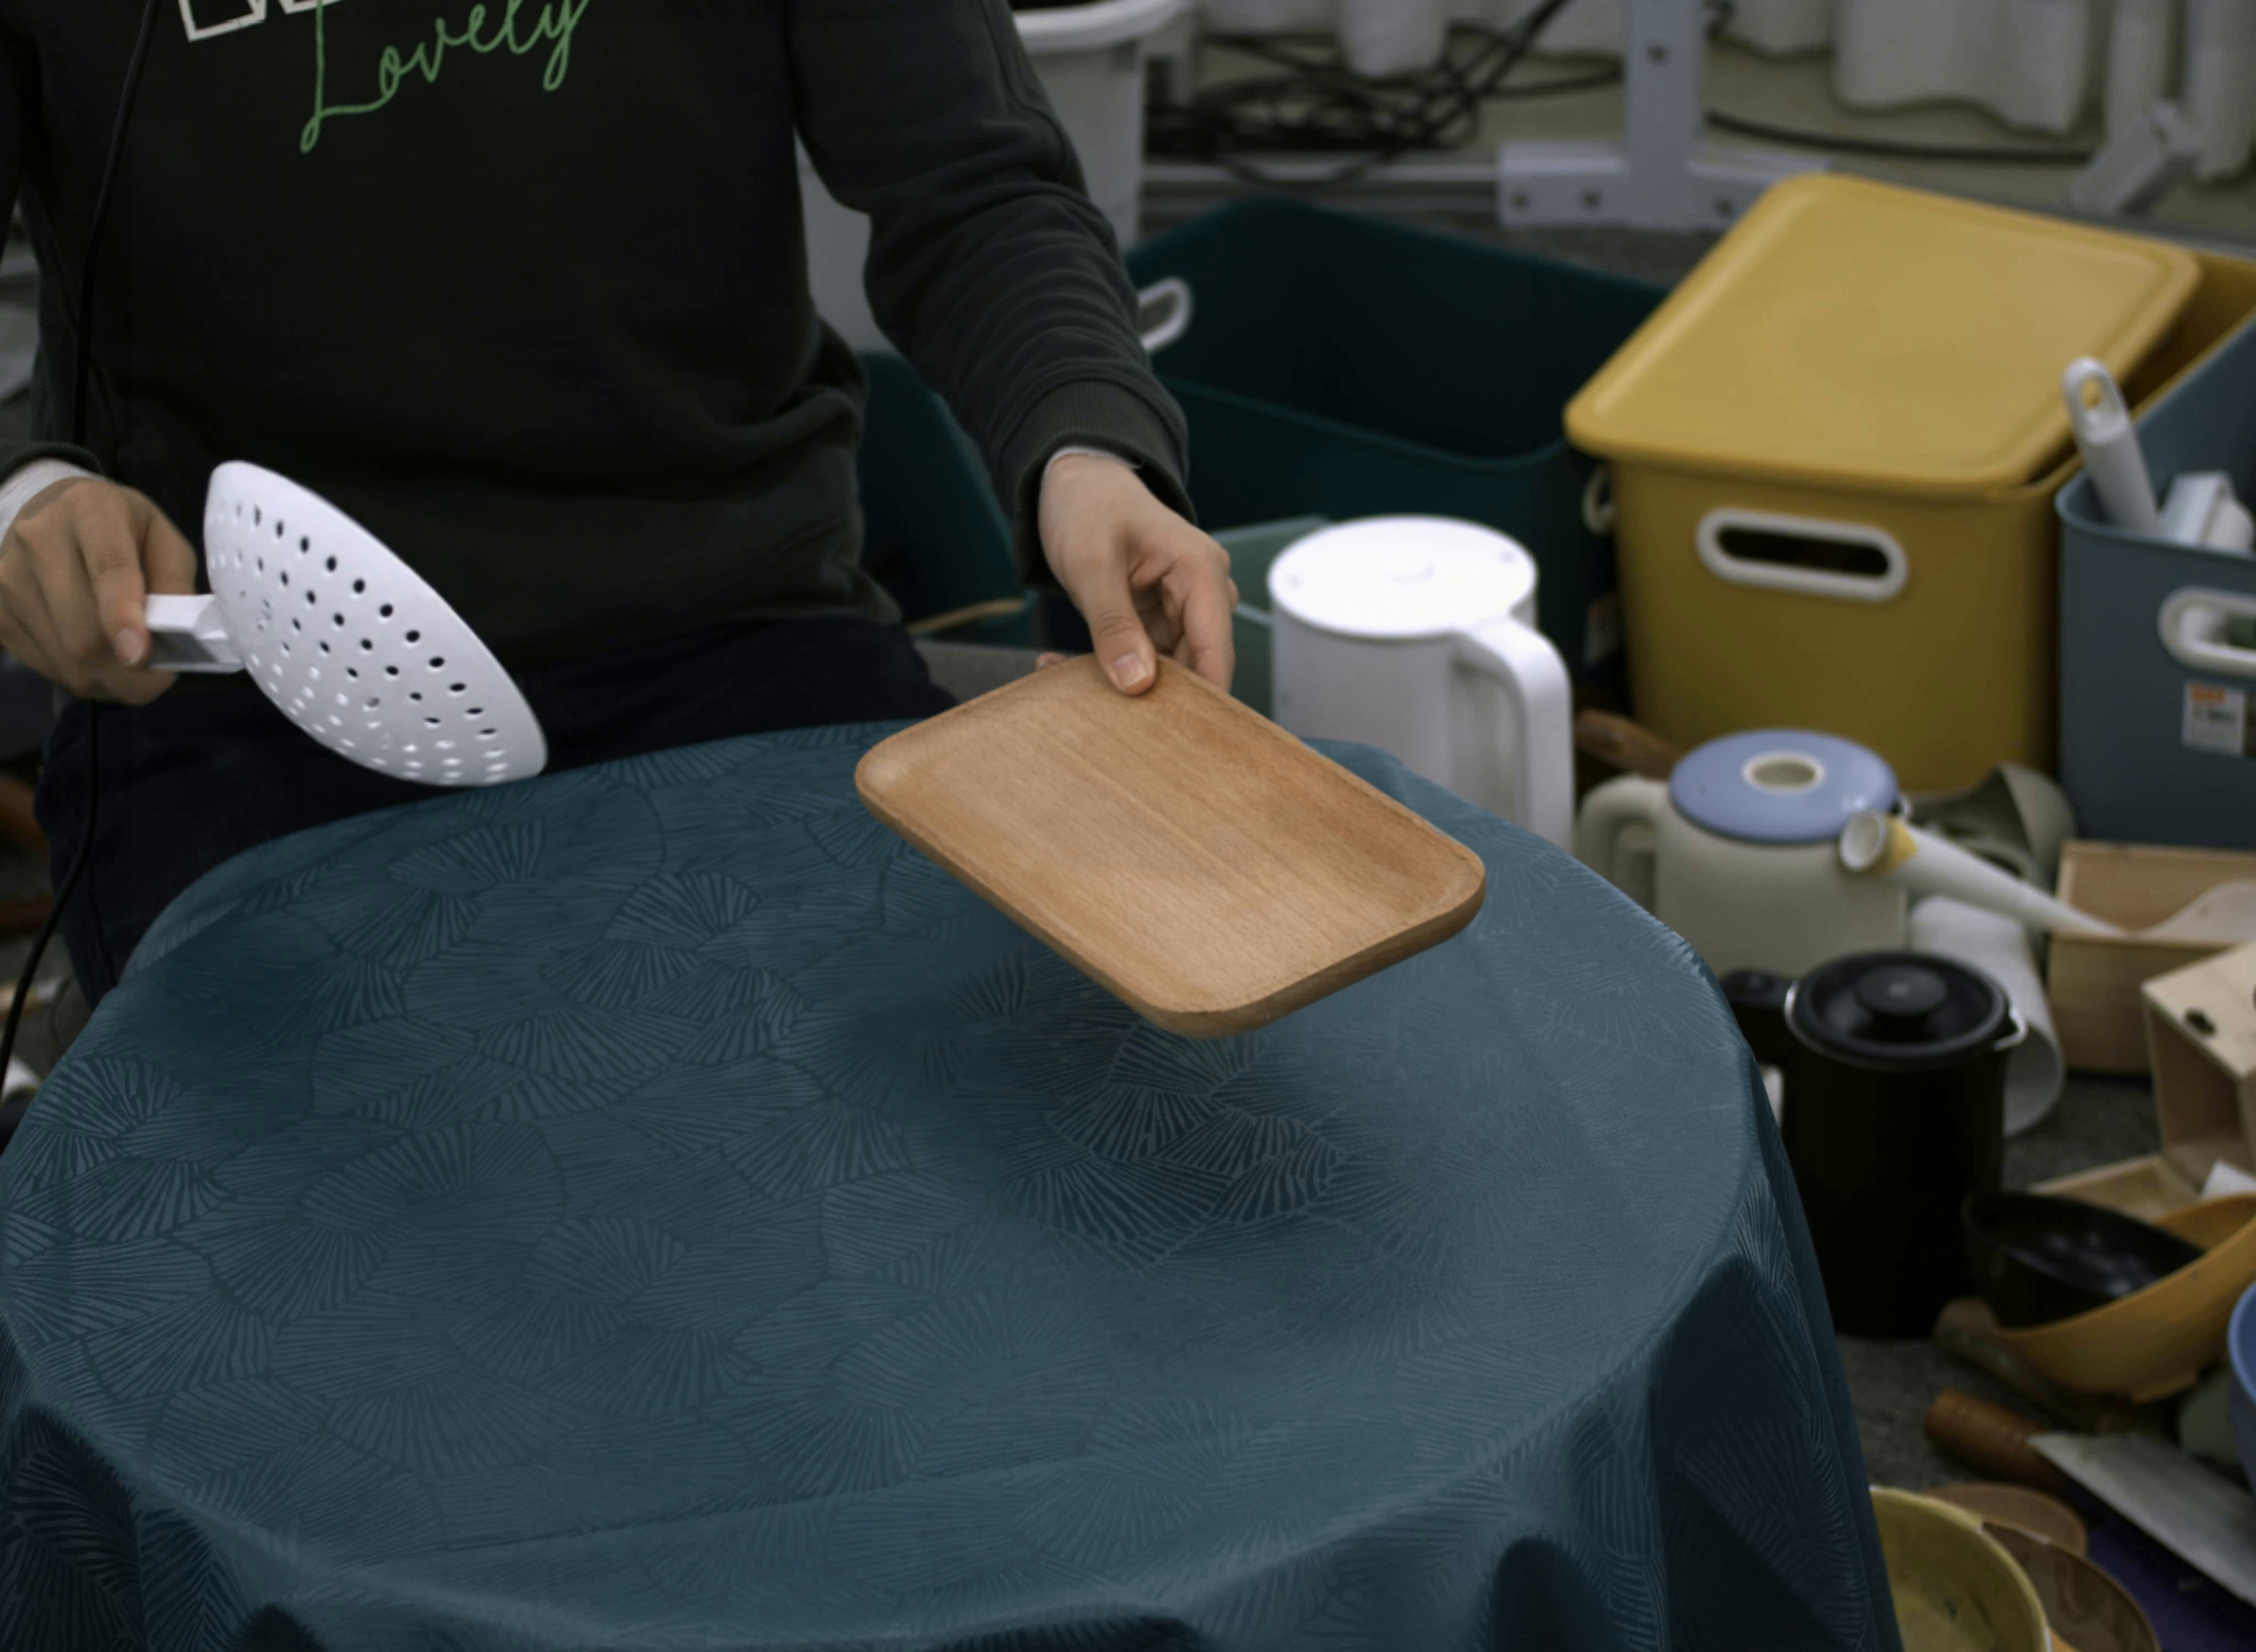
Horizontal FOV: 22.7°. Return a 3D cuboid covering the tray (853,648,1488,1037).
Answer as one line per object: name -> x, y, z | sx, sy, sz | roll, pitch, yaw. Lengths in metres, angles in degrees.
tray -> 0.011, 0.003, 1.887 | 0.131, 0.022, 0.251 | -21, 29, -23

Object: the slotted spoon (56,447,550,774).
slotted spoon -> -0.286, -0.065, 1.837 | 0.046, 0.135, 0.348 | -47, 22, -14
